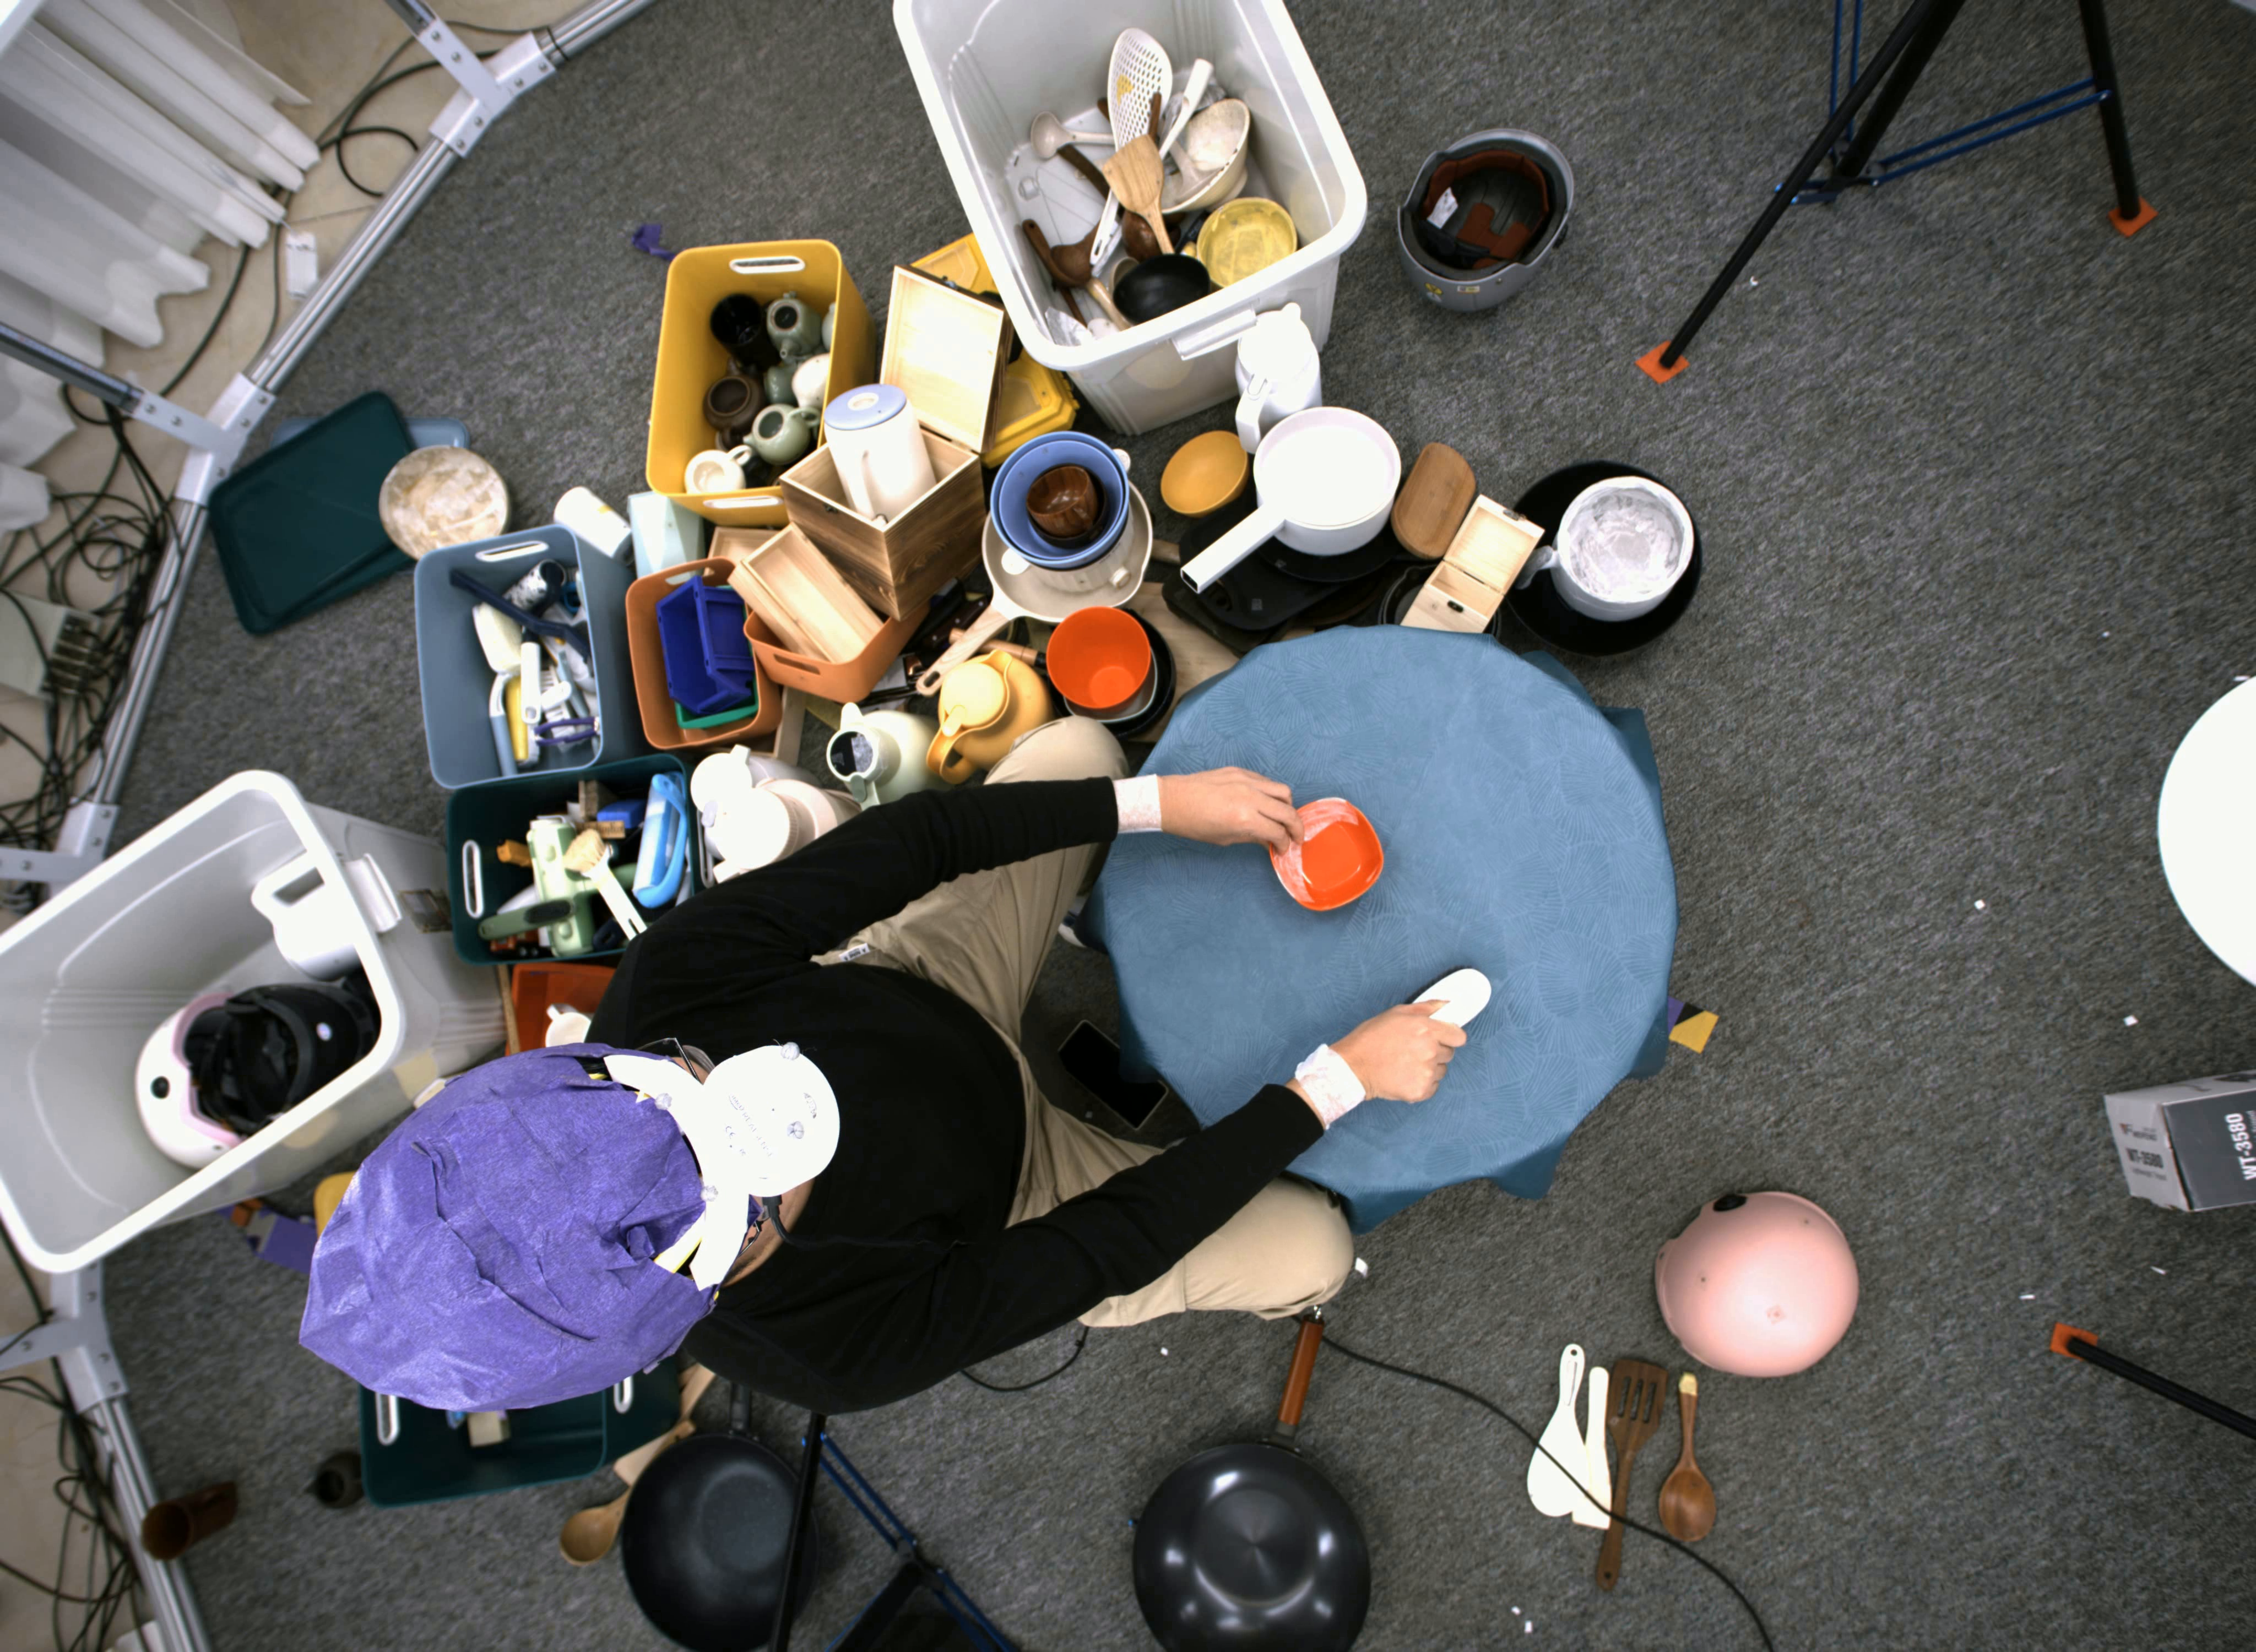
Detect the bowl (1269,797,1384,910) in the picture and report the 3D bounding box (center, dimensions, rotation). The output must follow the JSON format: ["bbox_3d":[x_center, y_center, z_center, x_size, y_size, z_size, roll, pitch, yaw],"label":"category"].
[{"bbox_3d":[0.207,0.030,1.447,0.119,0.051,0.118,-1,86,7],"label":"bowl"}]

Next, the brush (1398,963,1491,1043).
[{"bbox_3d":[0.320,0.181,1.391,0.100,0.072,0.050,-35,91,9],"label":"brush"}]
